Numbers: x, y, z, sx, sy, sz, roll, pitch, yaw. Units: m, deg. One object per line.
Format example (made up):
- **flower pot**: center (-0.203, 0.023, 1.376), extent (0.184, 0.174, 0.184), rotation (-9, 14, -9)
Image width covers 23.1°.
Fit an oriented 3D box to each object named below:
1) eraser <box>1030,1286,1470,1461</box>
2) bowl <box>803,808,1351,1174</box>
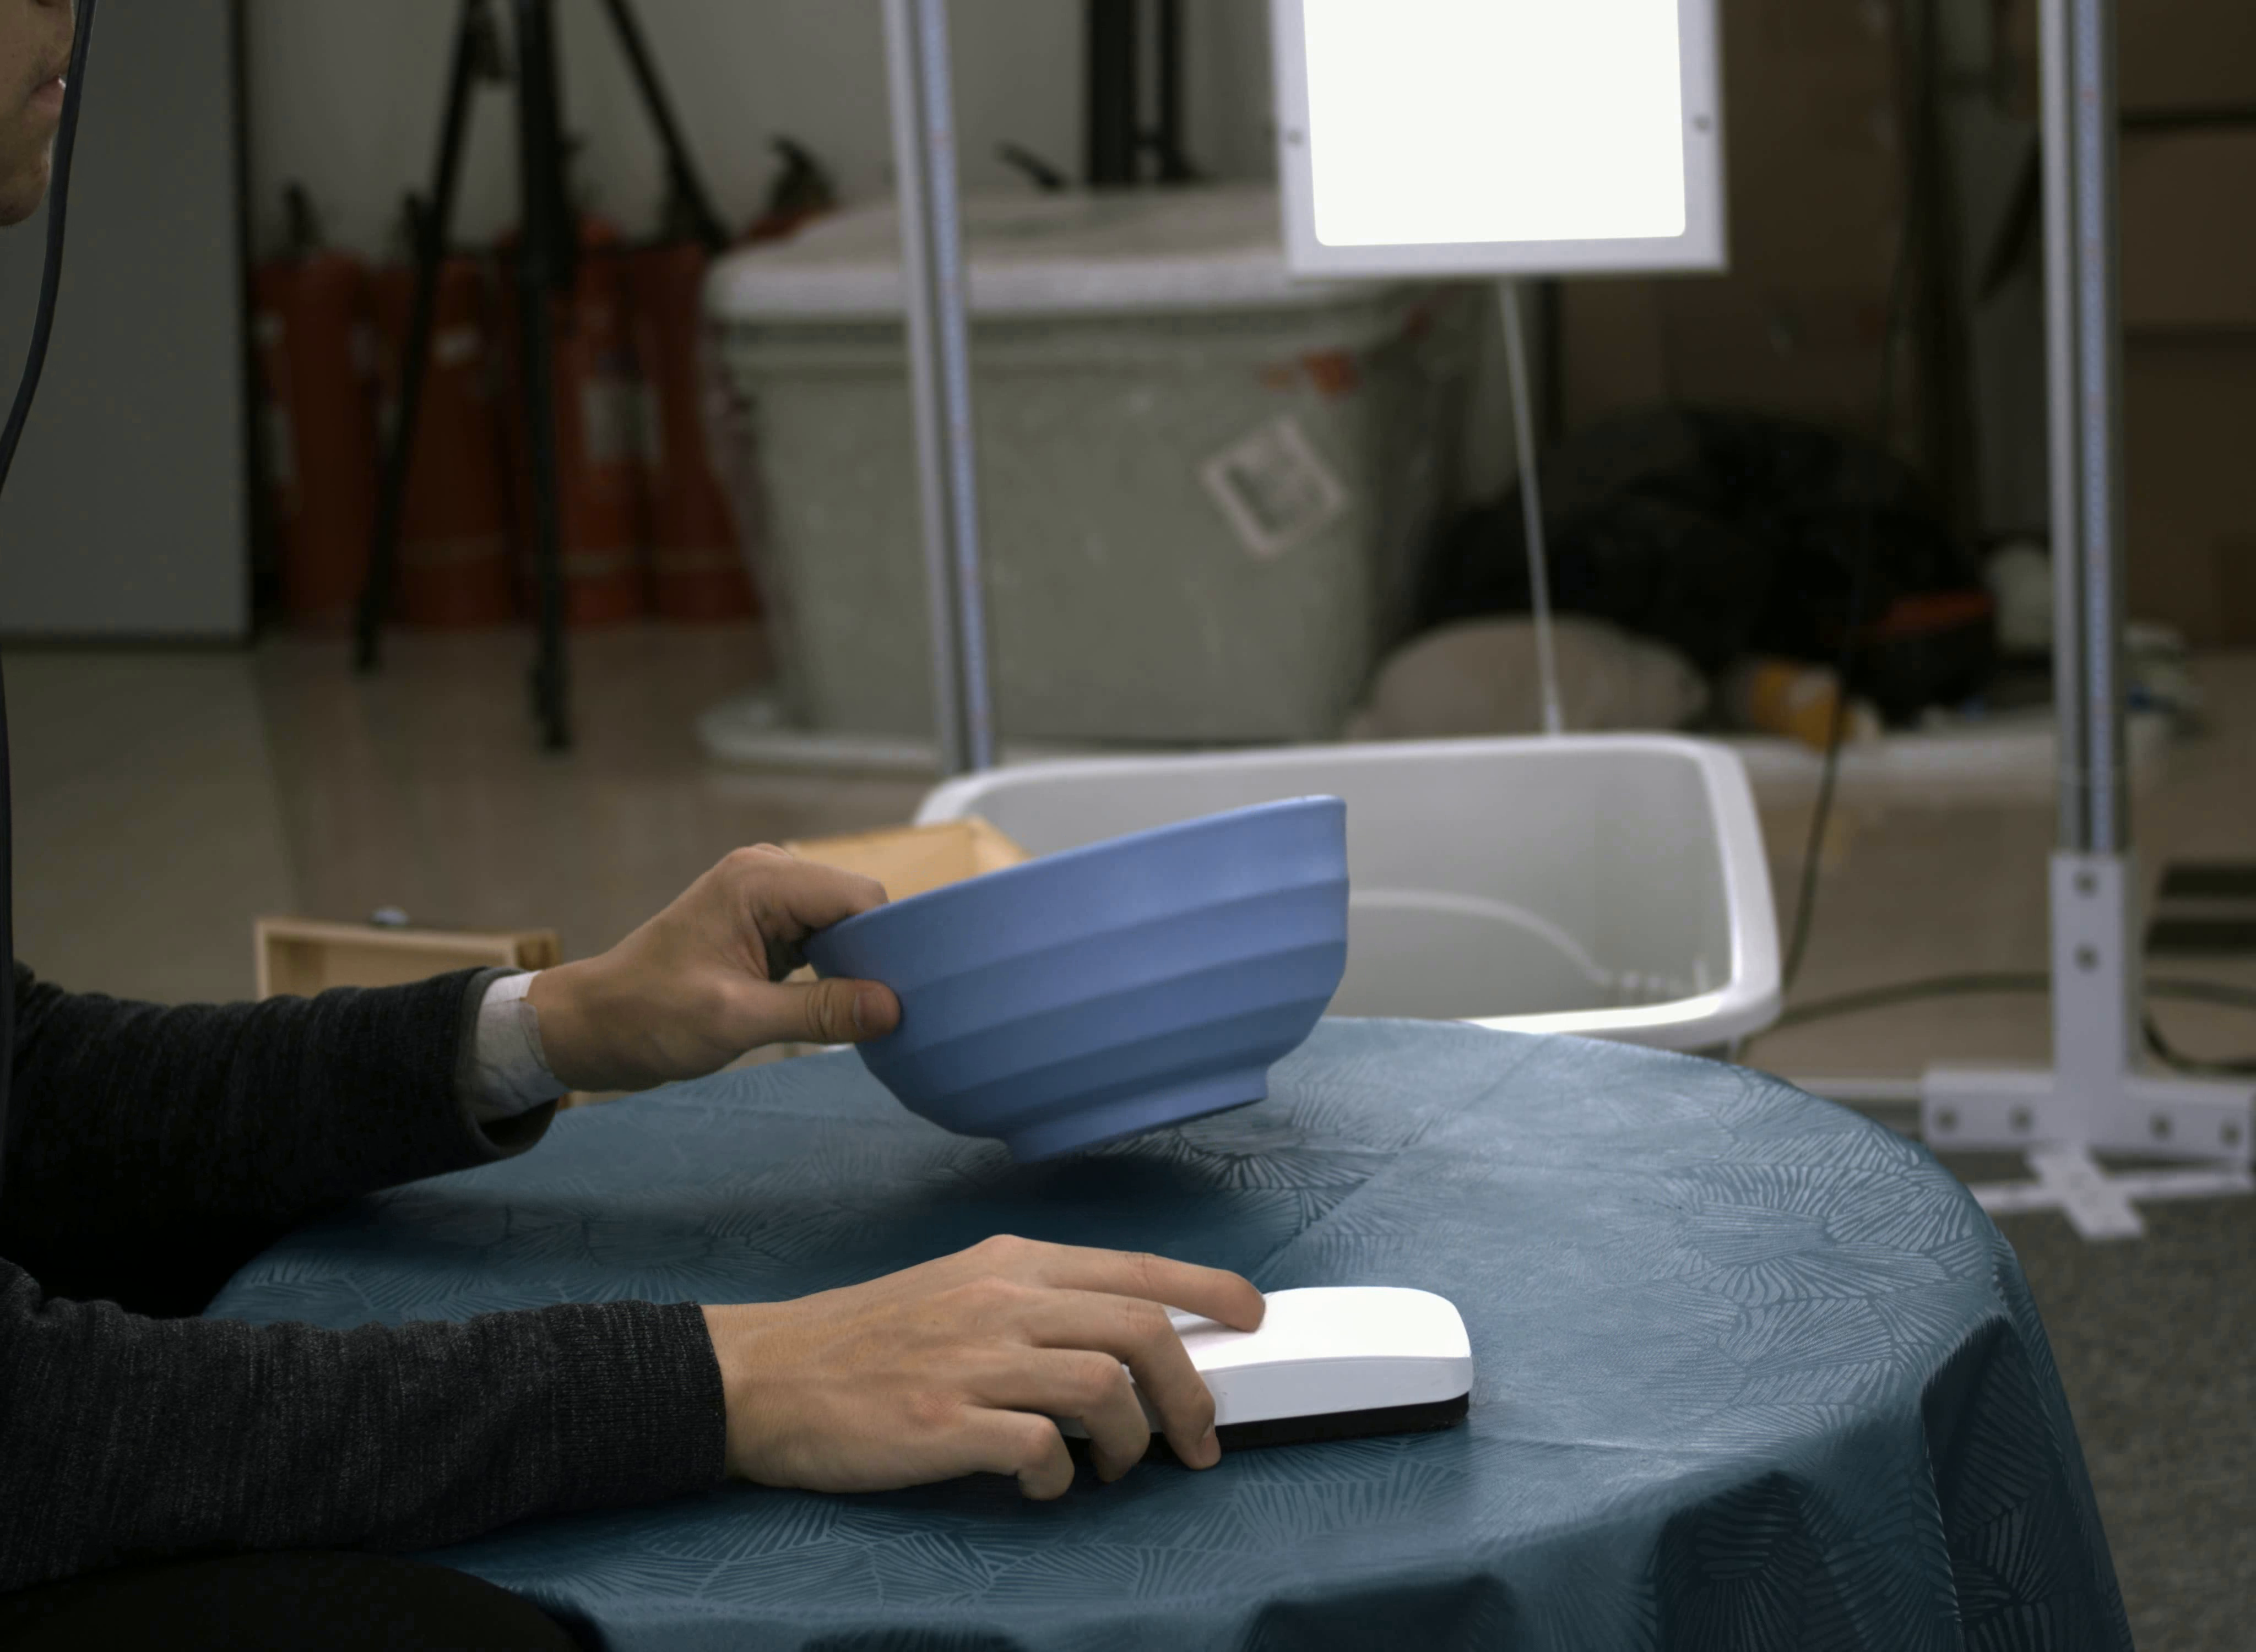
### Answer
- **eraser**: center (0.037, 0.164, 1.665), extent (0.130, 0.034, 0.063), rotation (-4, 14, -3)
- **bowl**: center (-0.007, 0.063, 1.909), extent (0.196, 0.095, 0.197), rotation (-15, -3, -2)
